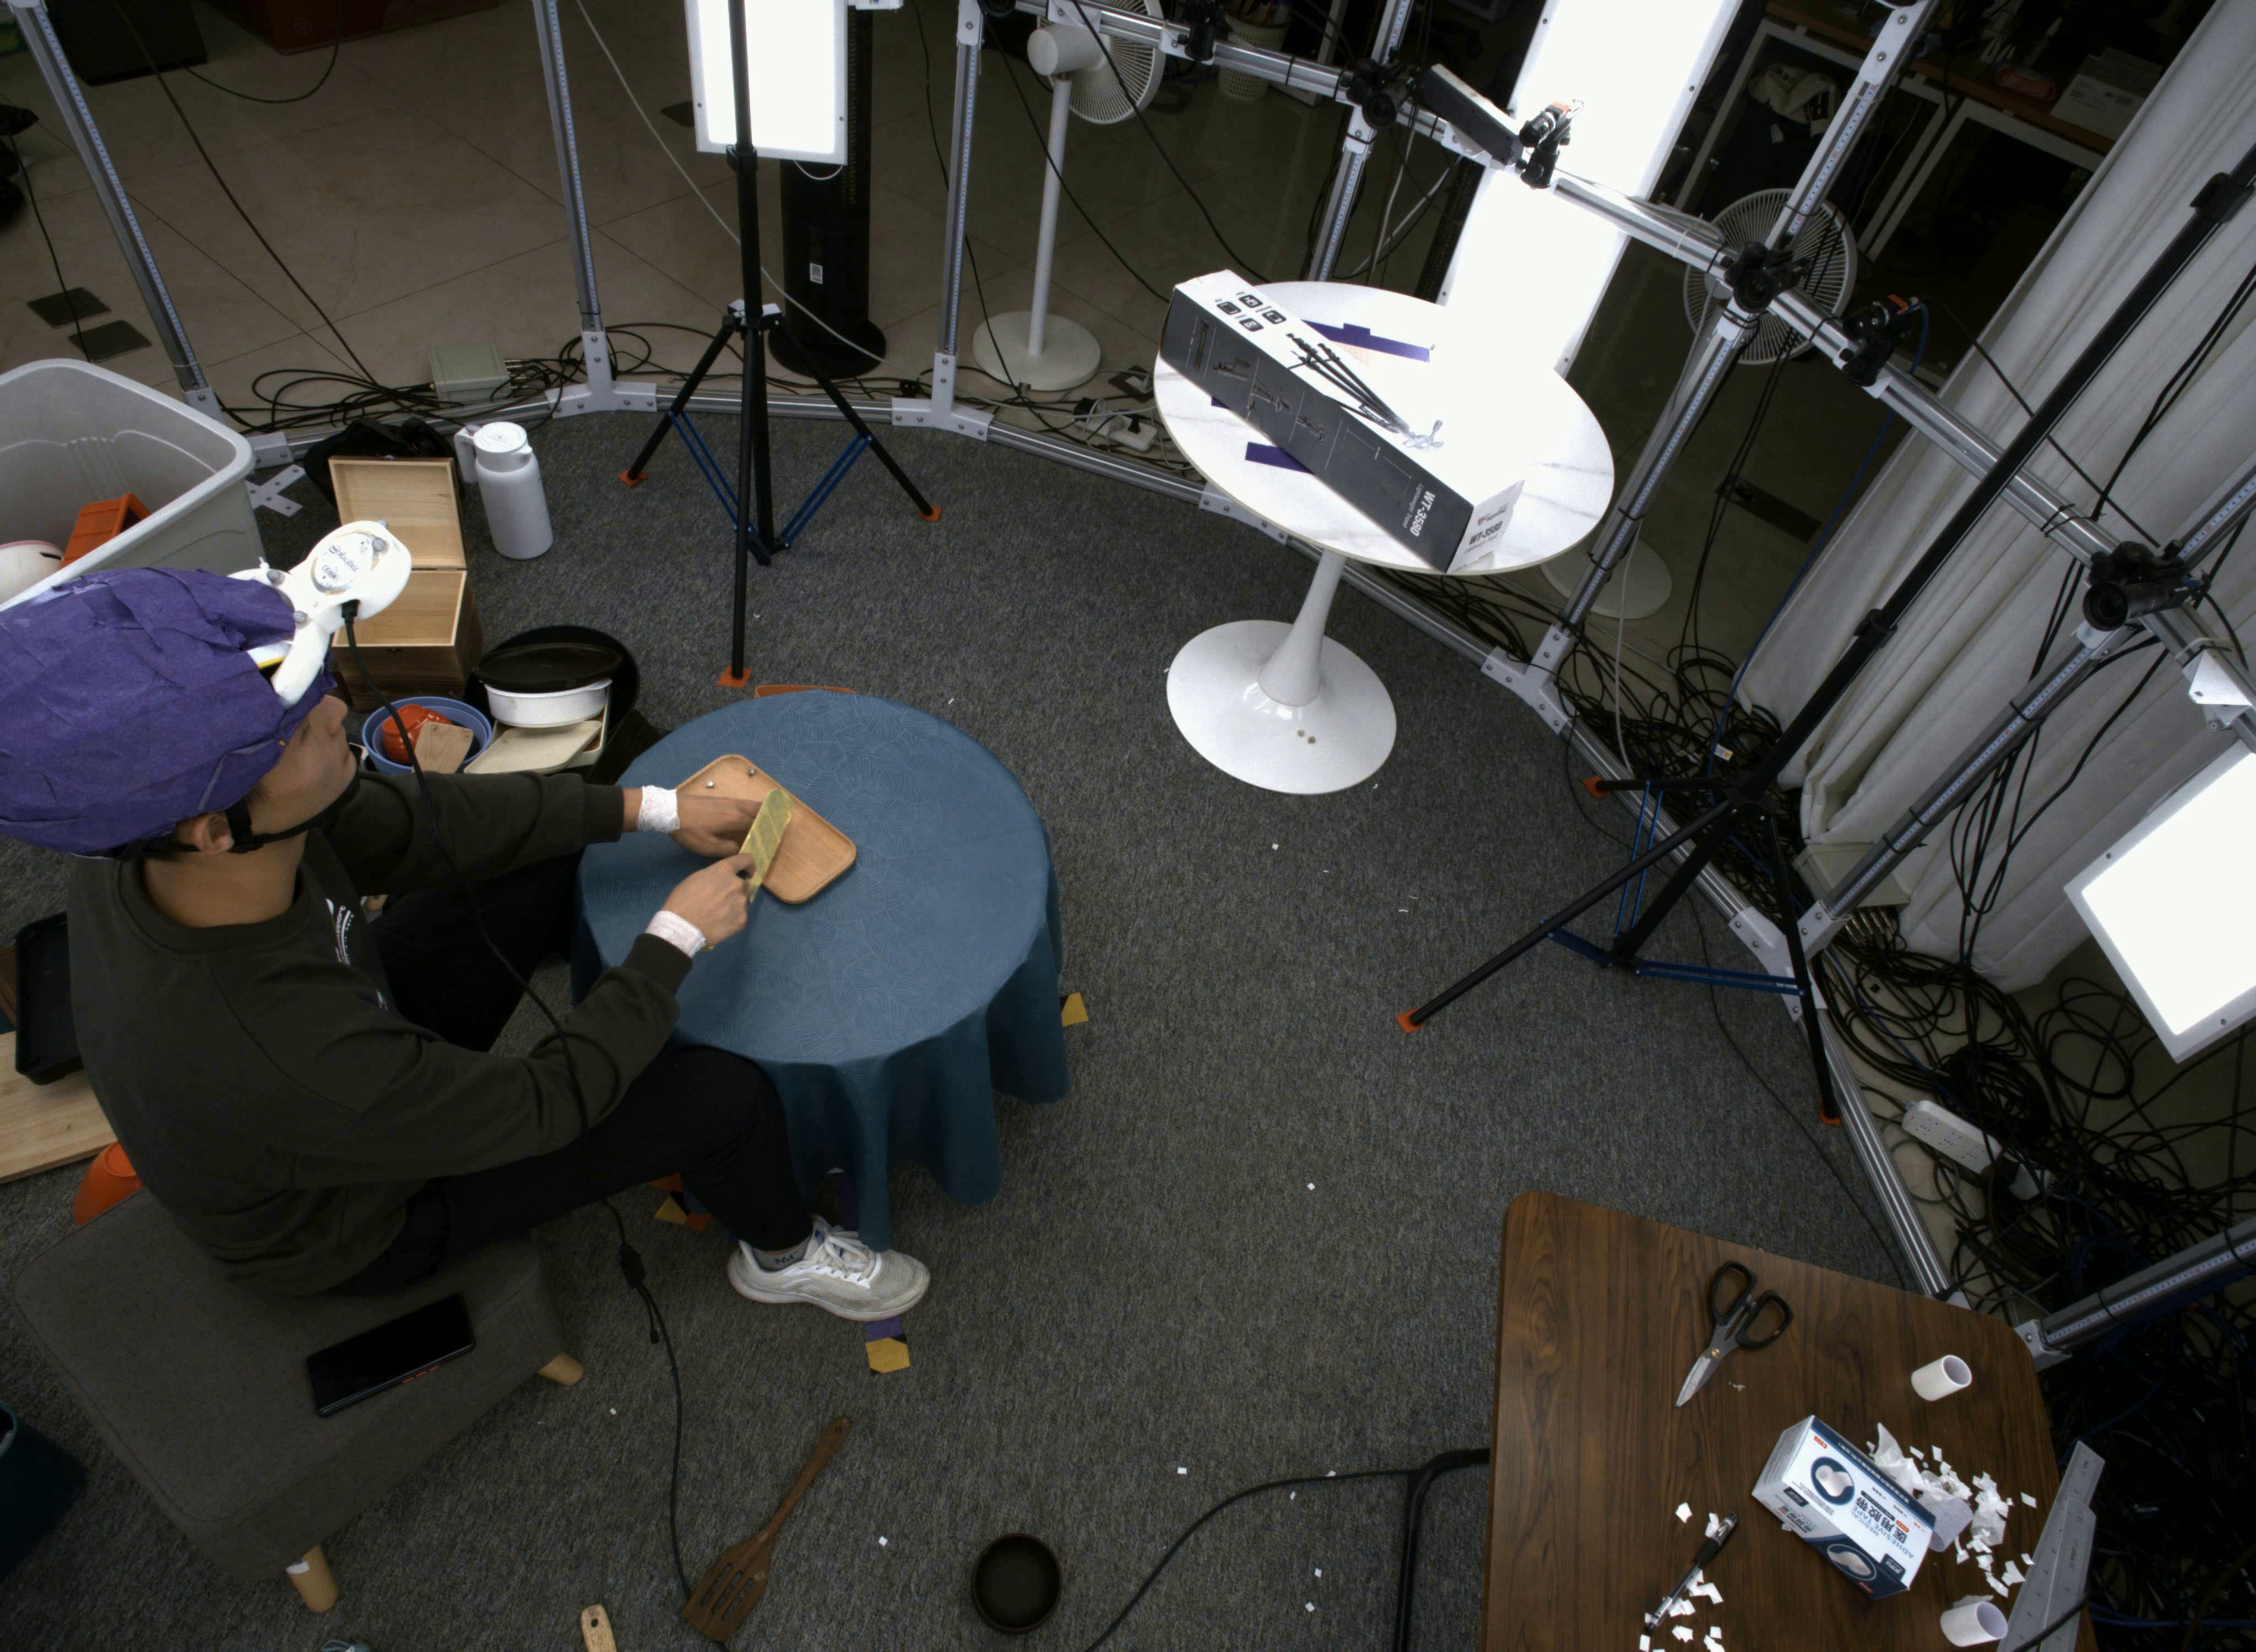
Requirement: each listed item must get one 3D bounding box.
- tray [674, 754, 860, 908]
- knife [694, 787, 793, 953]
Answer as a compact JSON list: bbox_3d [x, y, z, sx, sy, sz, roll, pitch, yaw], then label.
[{"bbox_3d":[-0.478,0.003,1.713,0.246,0.023,0.130,38,57,11],"label":"tray"},{"bbox_3d":[-0.467,0.053,1.599,0.026,0.084,0.285,2,42,13],"label":"knife"}]
